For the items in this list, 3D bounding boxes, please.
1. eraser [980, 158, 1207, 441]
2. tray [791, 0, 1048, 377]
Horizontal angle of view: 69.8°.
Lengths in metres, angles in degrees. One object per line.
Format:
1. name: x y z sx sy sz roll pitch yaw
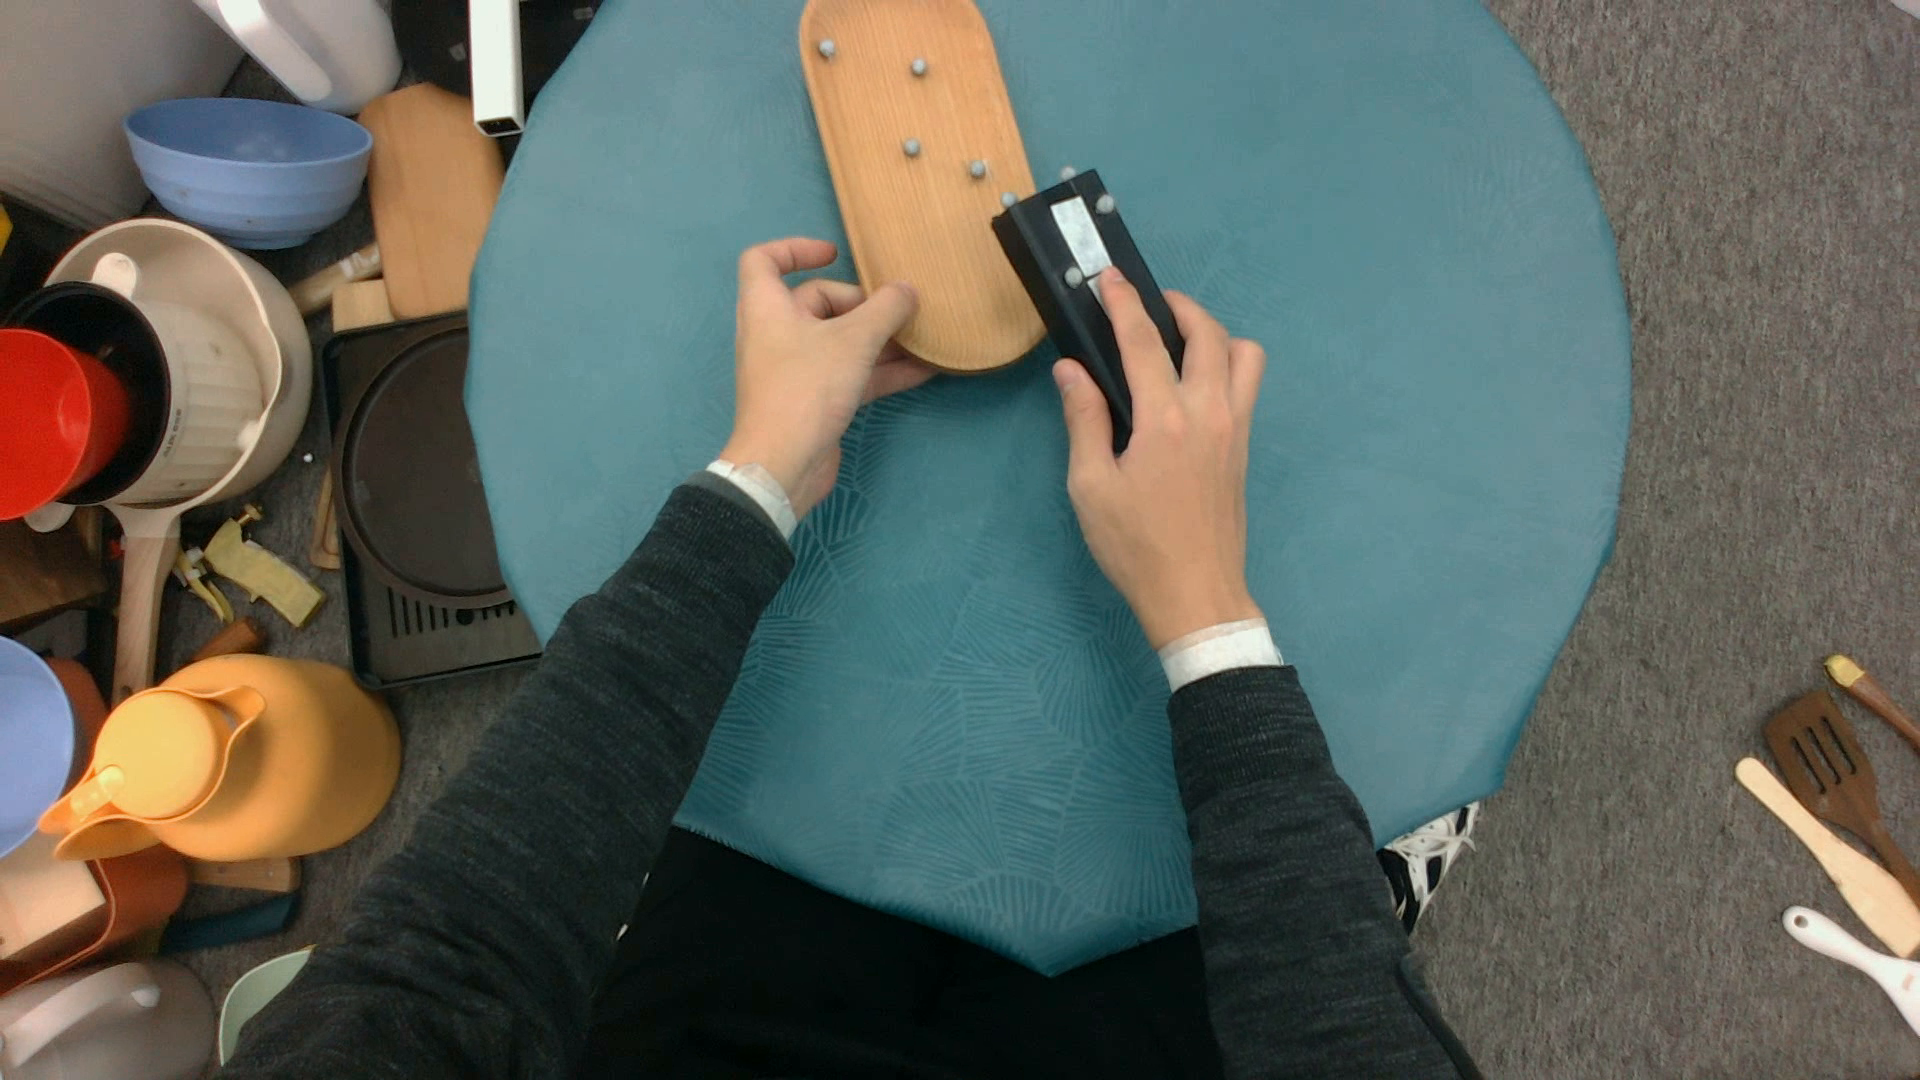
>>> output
1. eraser: 0.062 -0.112 0.647 0.053 0.030 0.125 -30 90 -19
2. tray: -0.020 -0.189 0.702 0.102 0.020 0.231 -13 77 -13
